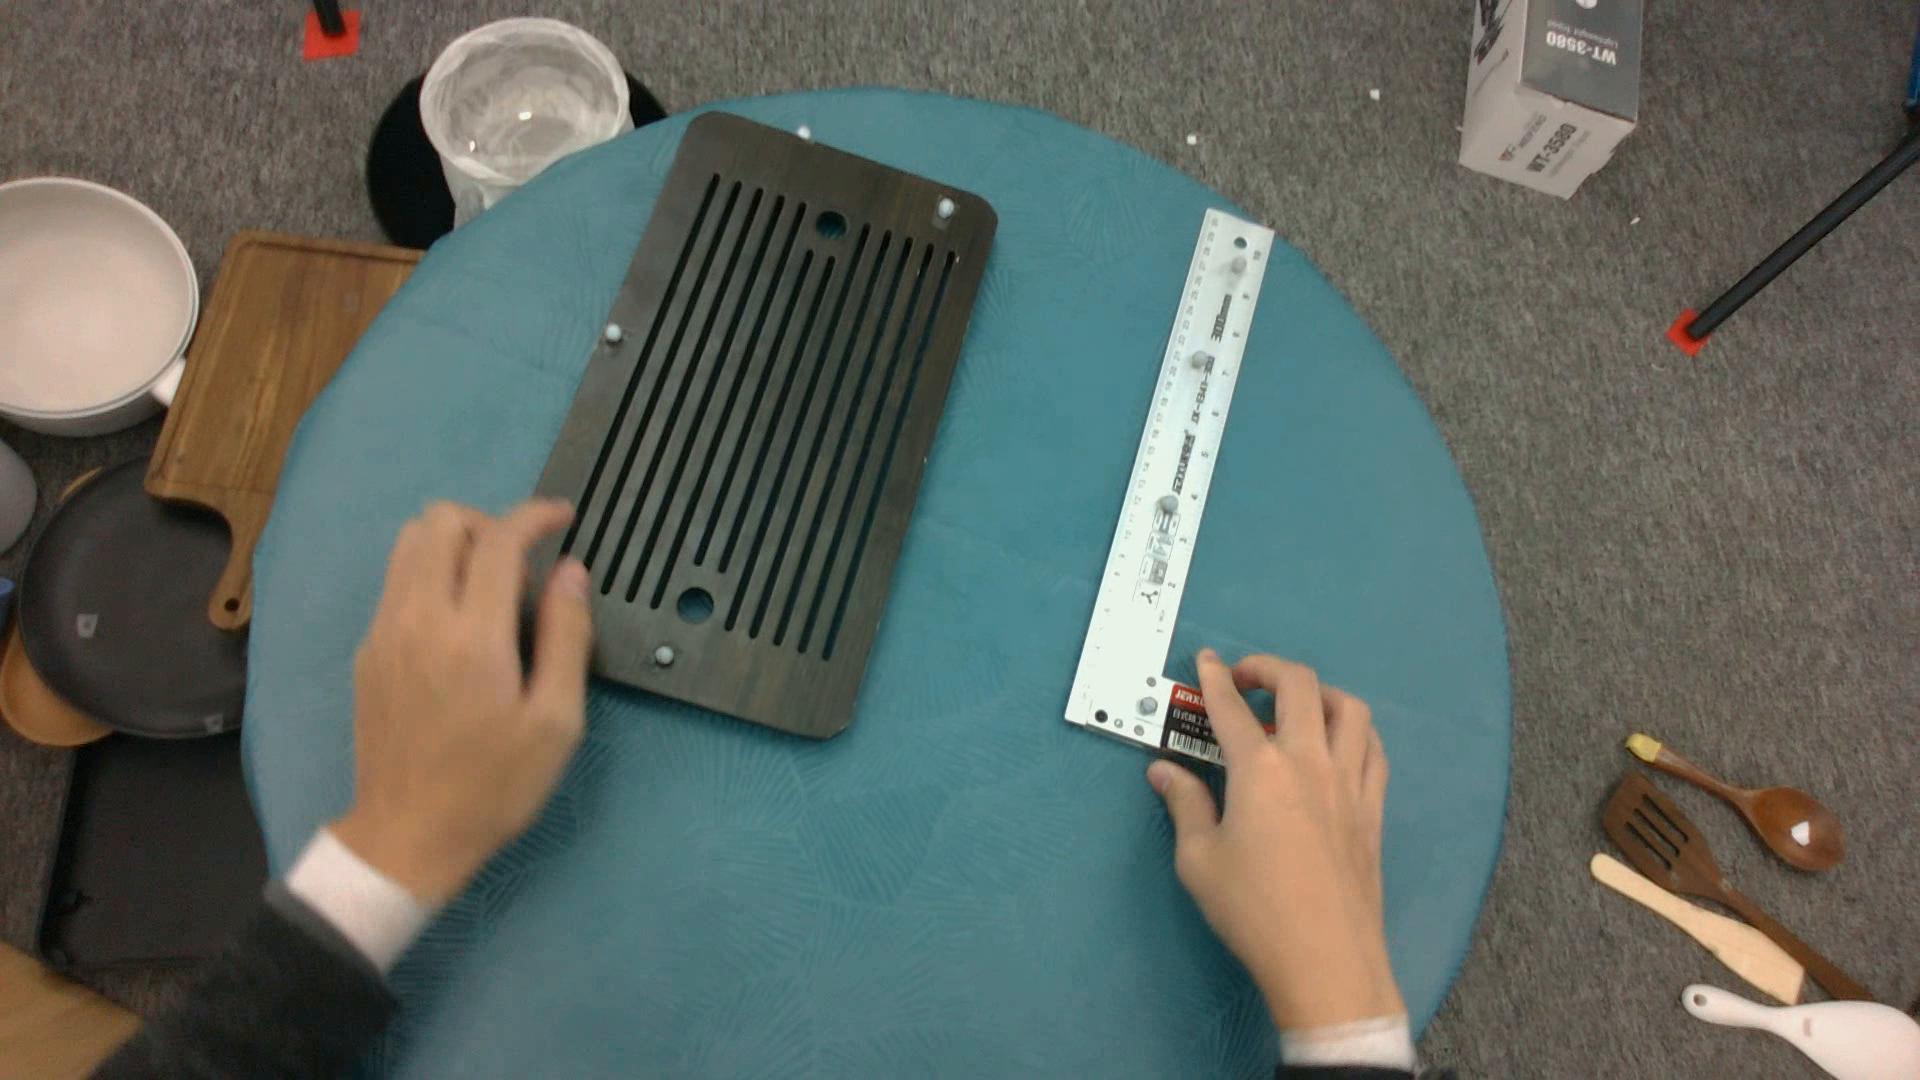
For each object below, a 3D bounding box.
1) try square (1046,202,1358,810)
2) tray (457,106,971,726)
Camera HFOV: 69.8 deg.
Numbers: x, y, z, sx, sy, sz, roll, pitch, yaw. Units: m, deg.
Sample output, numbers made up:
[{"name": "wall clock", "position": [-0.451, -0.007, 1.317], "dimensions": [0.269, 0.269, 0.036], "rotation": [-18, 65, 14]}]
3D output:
[{"name": "try square", "position": [0.152, -0.031, 0.712], "dimensions": [0.152, 0.016, 0.314], "rotation": [19, 65, -3]}, {"name": "tray", "position": [-0.109, -0.071, 0.675], "dimensions": [0.170, 0.018, 0.307], "rotation": [17, 66, -4]}]
